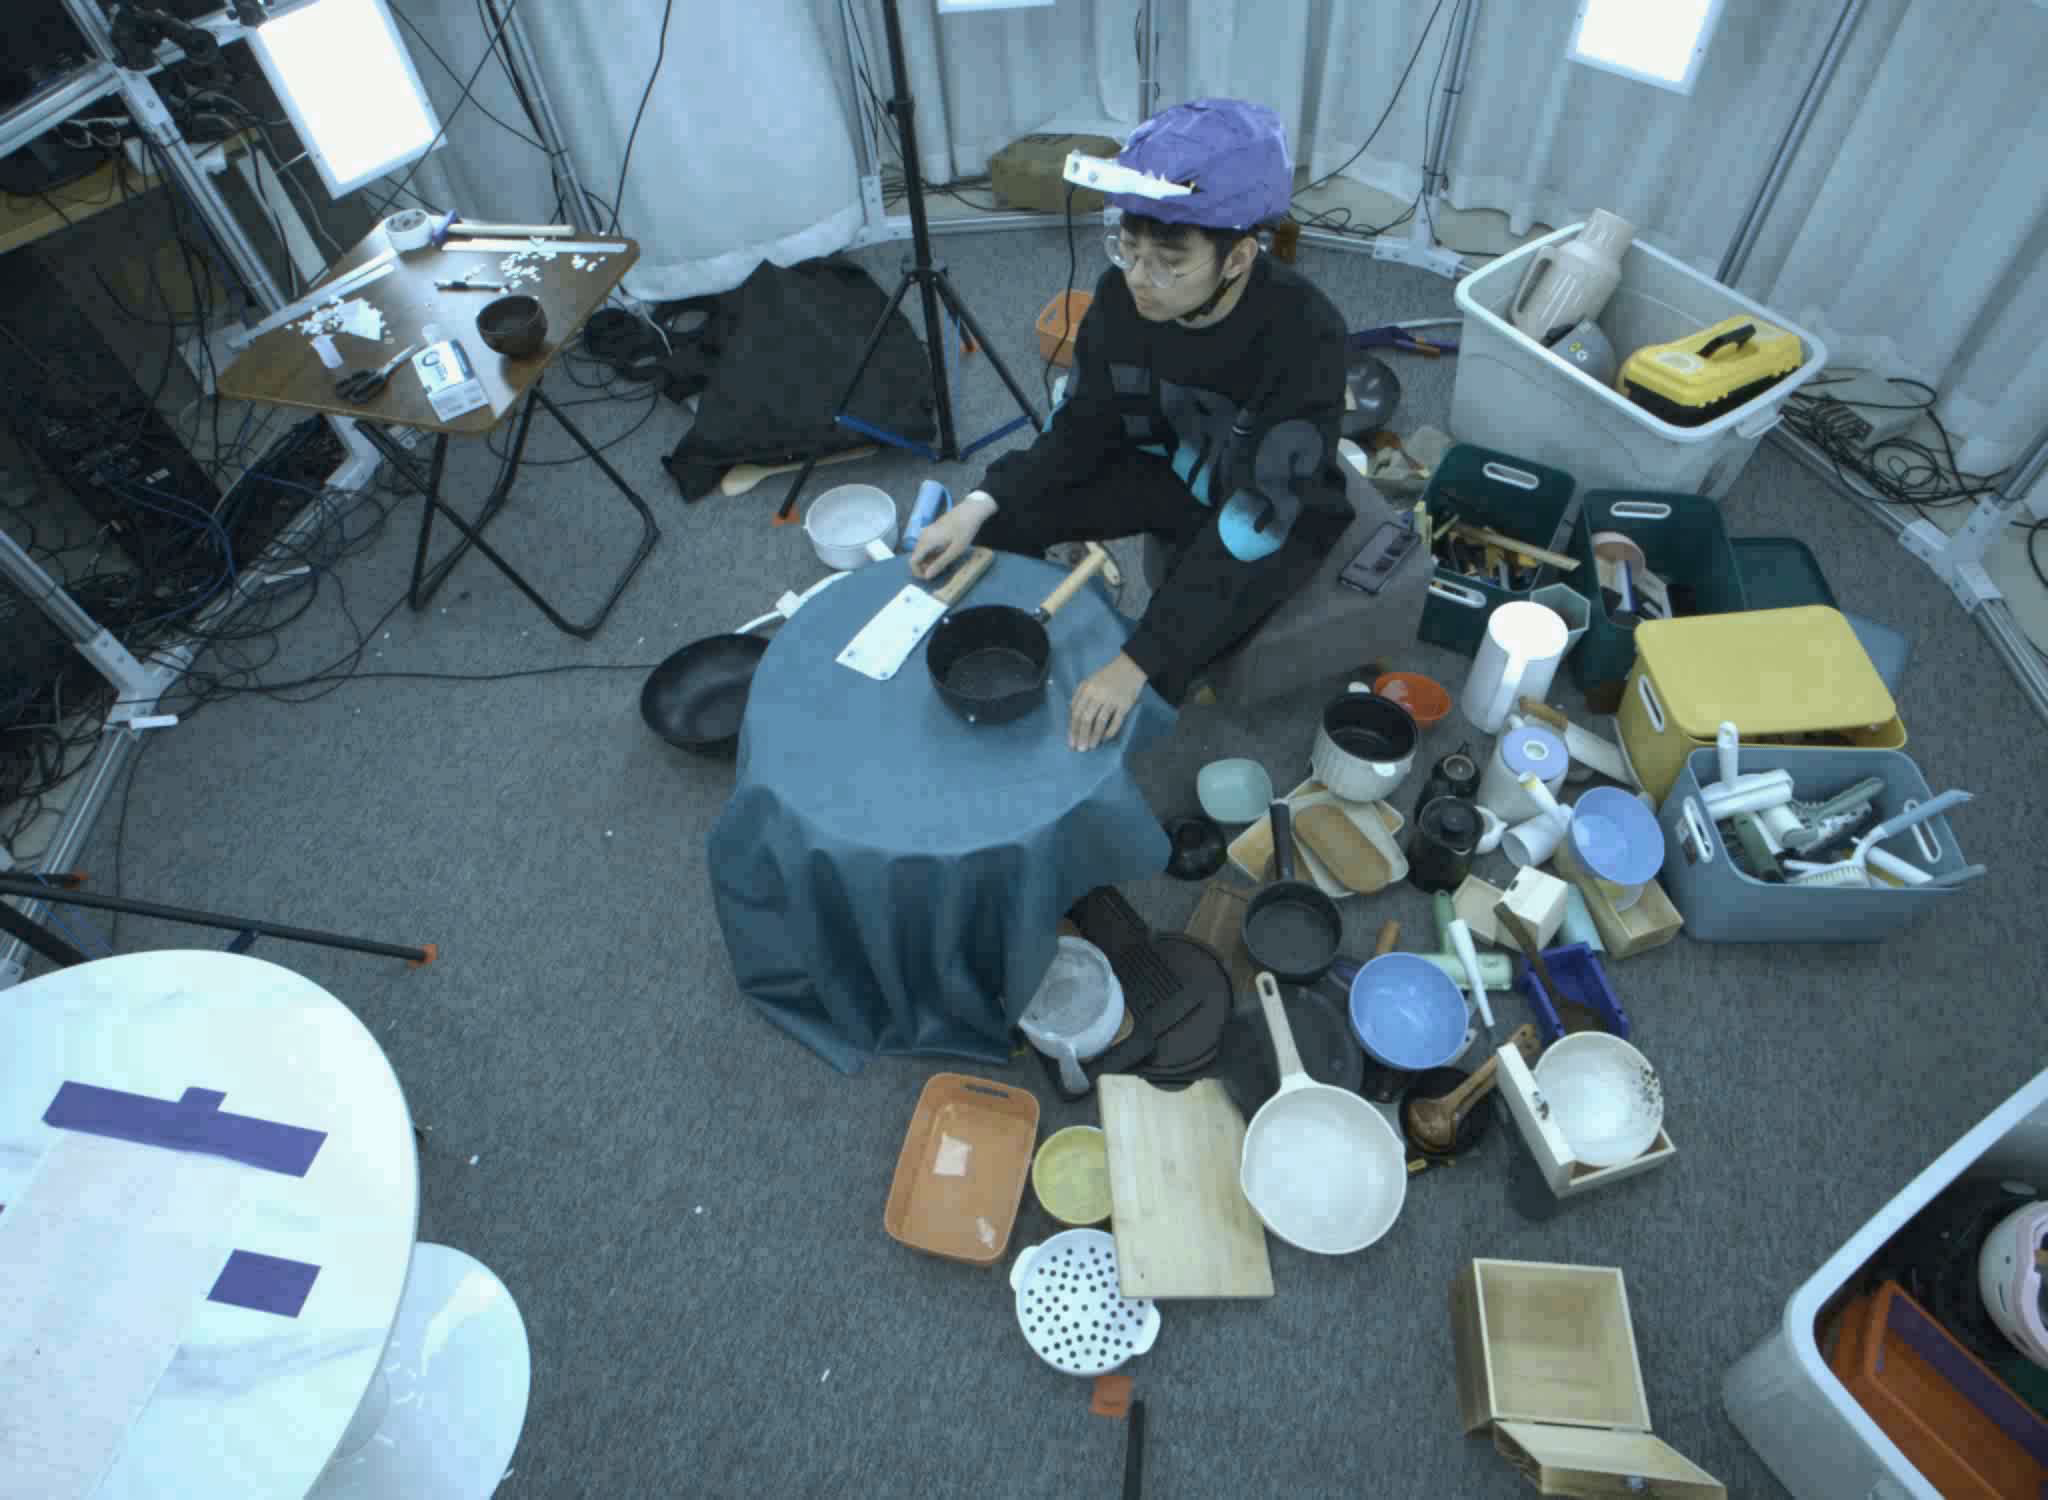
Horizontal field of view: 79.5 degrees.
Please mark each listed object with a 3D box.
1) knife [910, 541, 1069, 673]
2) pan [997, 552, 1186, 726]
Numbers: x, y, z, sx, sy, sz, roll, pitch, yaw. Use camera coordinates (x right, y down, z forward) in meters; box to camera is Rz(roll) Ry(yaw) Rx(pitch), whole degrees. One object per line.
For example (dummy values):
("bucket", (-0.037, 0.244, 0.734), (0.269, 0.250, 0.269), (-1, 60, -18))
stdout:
("knife", (-0.043, -0.230, 1.940), (0.112, 0.022, 0.317), (37, 66, 25))
("pan", (0.113, -0.173, 1.838), (0.345, 0.109, 0.203), (-39, 61, -21))
